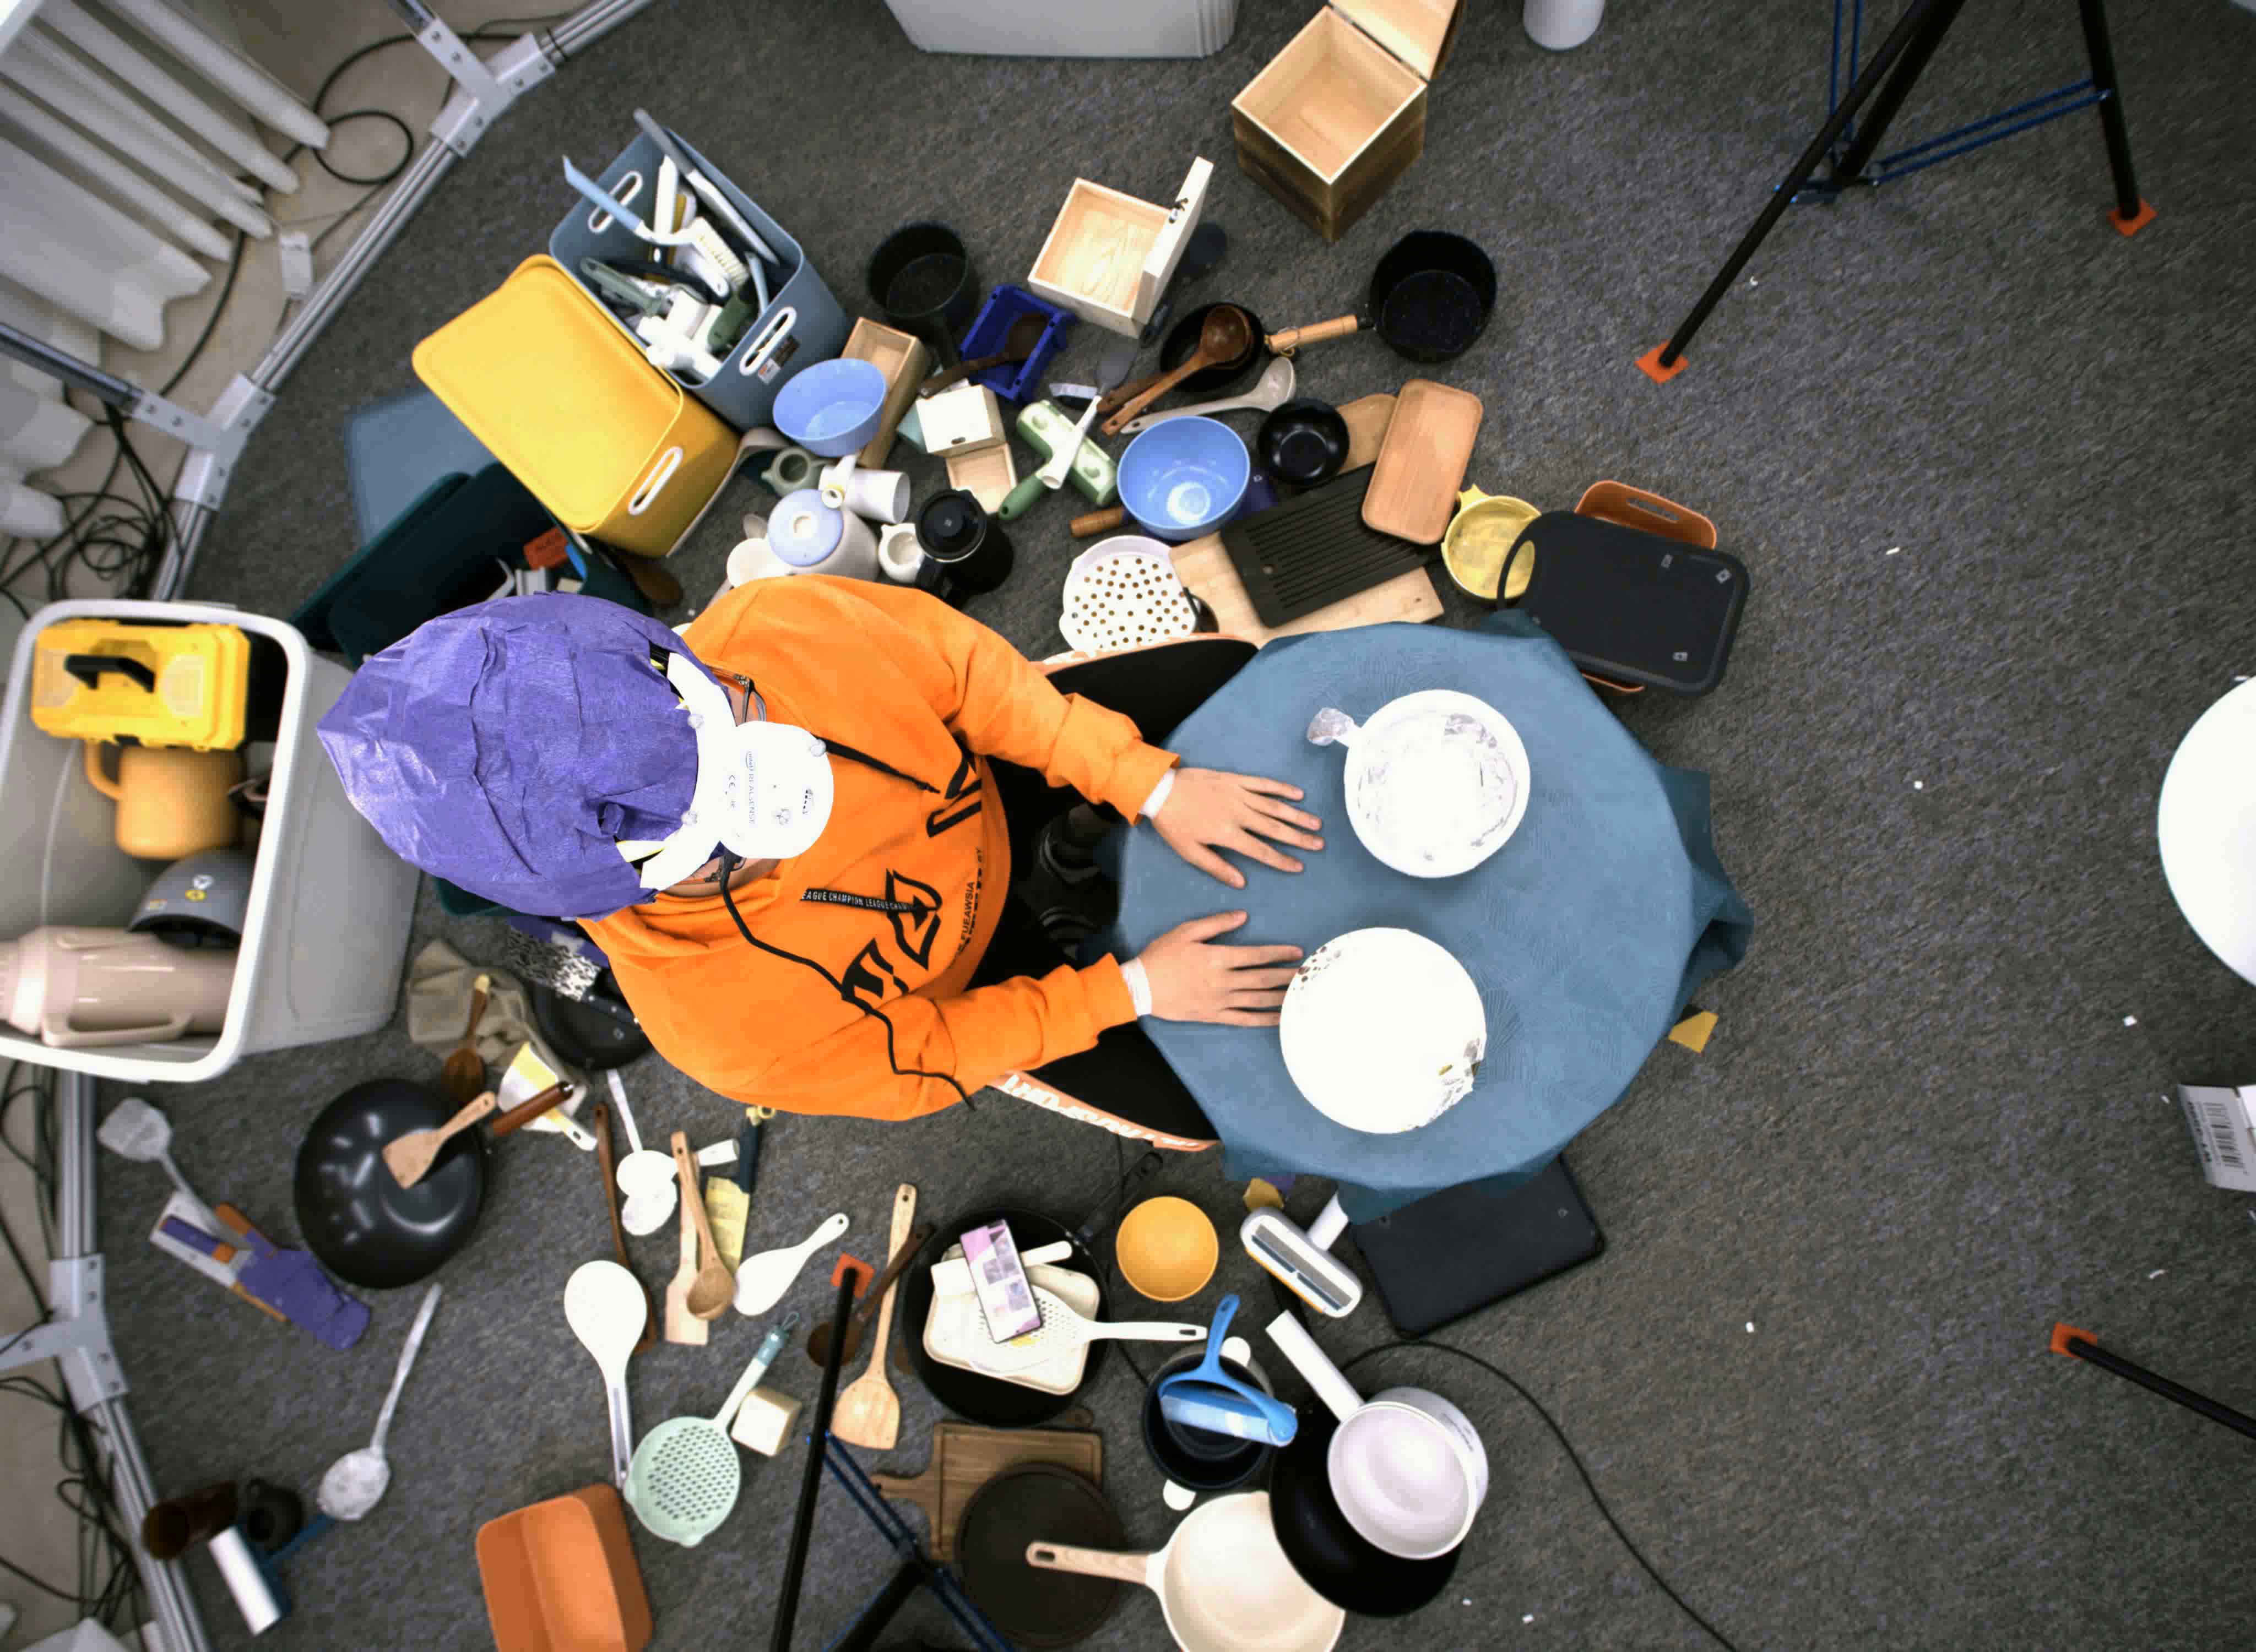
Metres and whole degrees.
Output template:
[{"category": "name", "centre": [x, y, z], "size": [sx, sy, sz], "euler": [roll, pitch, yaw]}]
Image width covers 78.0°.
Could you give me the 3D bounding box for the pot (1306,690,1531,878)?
[{"category": "pot", "centre": [0.285, -0.053, 1.394], "size": [0.233, 0.137, 0.179], "euler": [30, 91, 10]}]

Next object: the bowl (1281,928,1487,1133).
[{"category": "bowl", "centre": [0.262, 0.206, 1.416], "size": [0.205, 0.078, 0.203], "euler": [-1, 86, 12]}]
